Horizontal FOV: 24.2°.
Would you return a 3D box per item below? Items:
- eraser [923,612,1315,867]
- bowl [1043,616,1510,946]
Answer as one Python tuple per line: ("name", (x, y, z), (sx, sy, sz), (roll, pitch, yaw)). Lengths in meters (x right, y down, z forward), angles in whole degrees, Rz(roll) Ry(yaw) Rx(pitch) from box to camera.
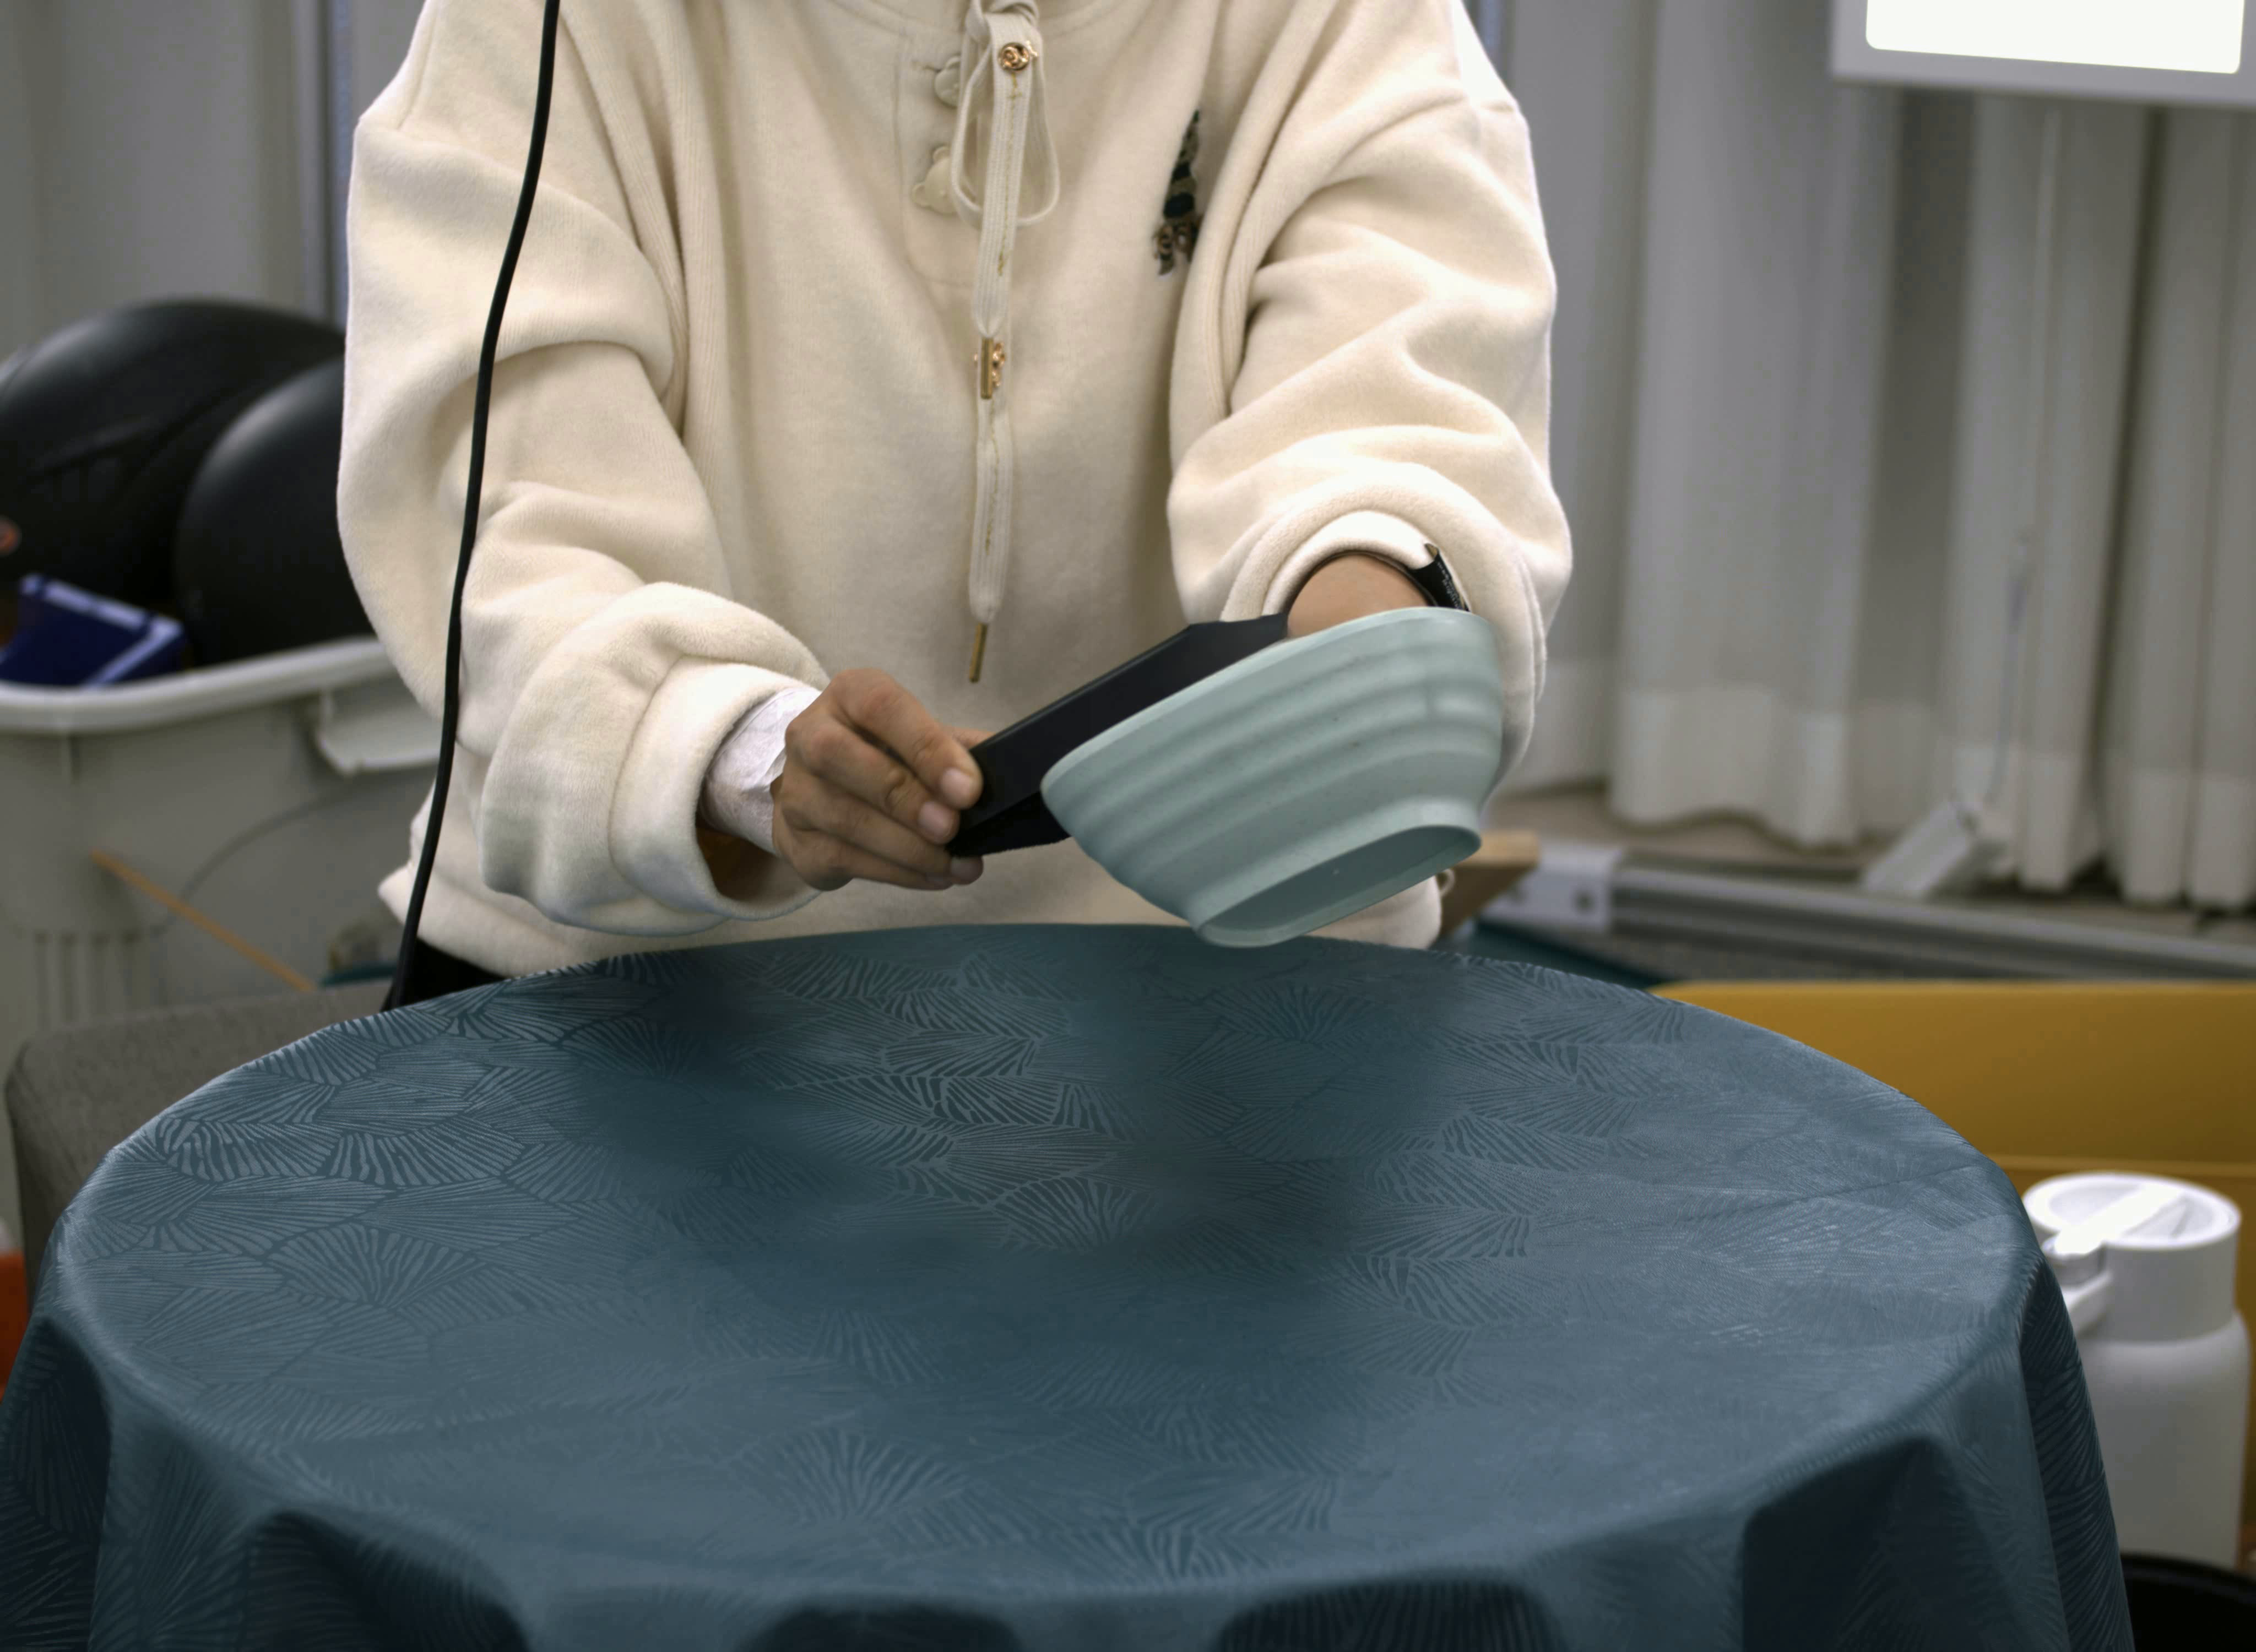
("eraser", (-0.001, -0.026, 1.562), (0.054, 0.030, 0.125), (-7, -18, -48))
("bowl", (0.053, -0.007, 1.541), (0.151, 0.058, 0.152), (-19, -11, -3))
